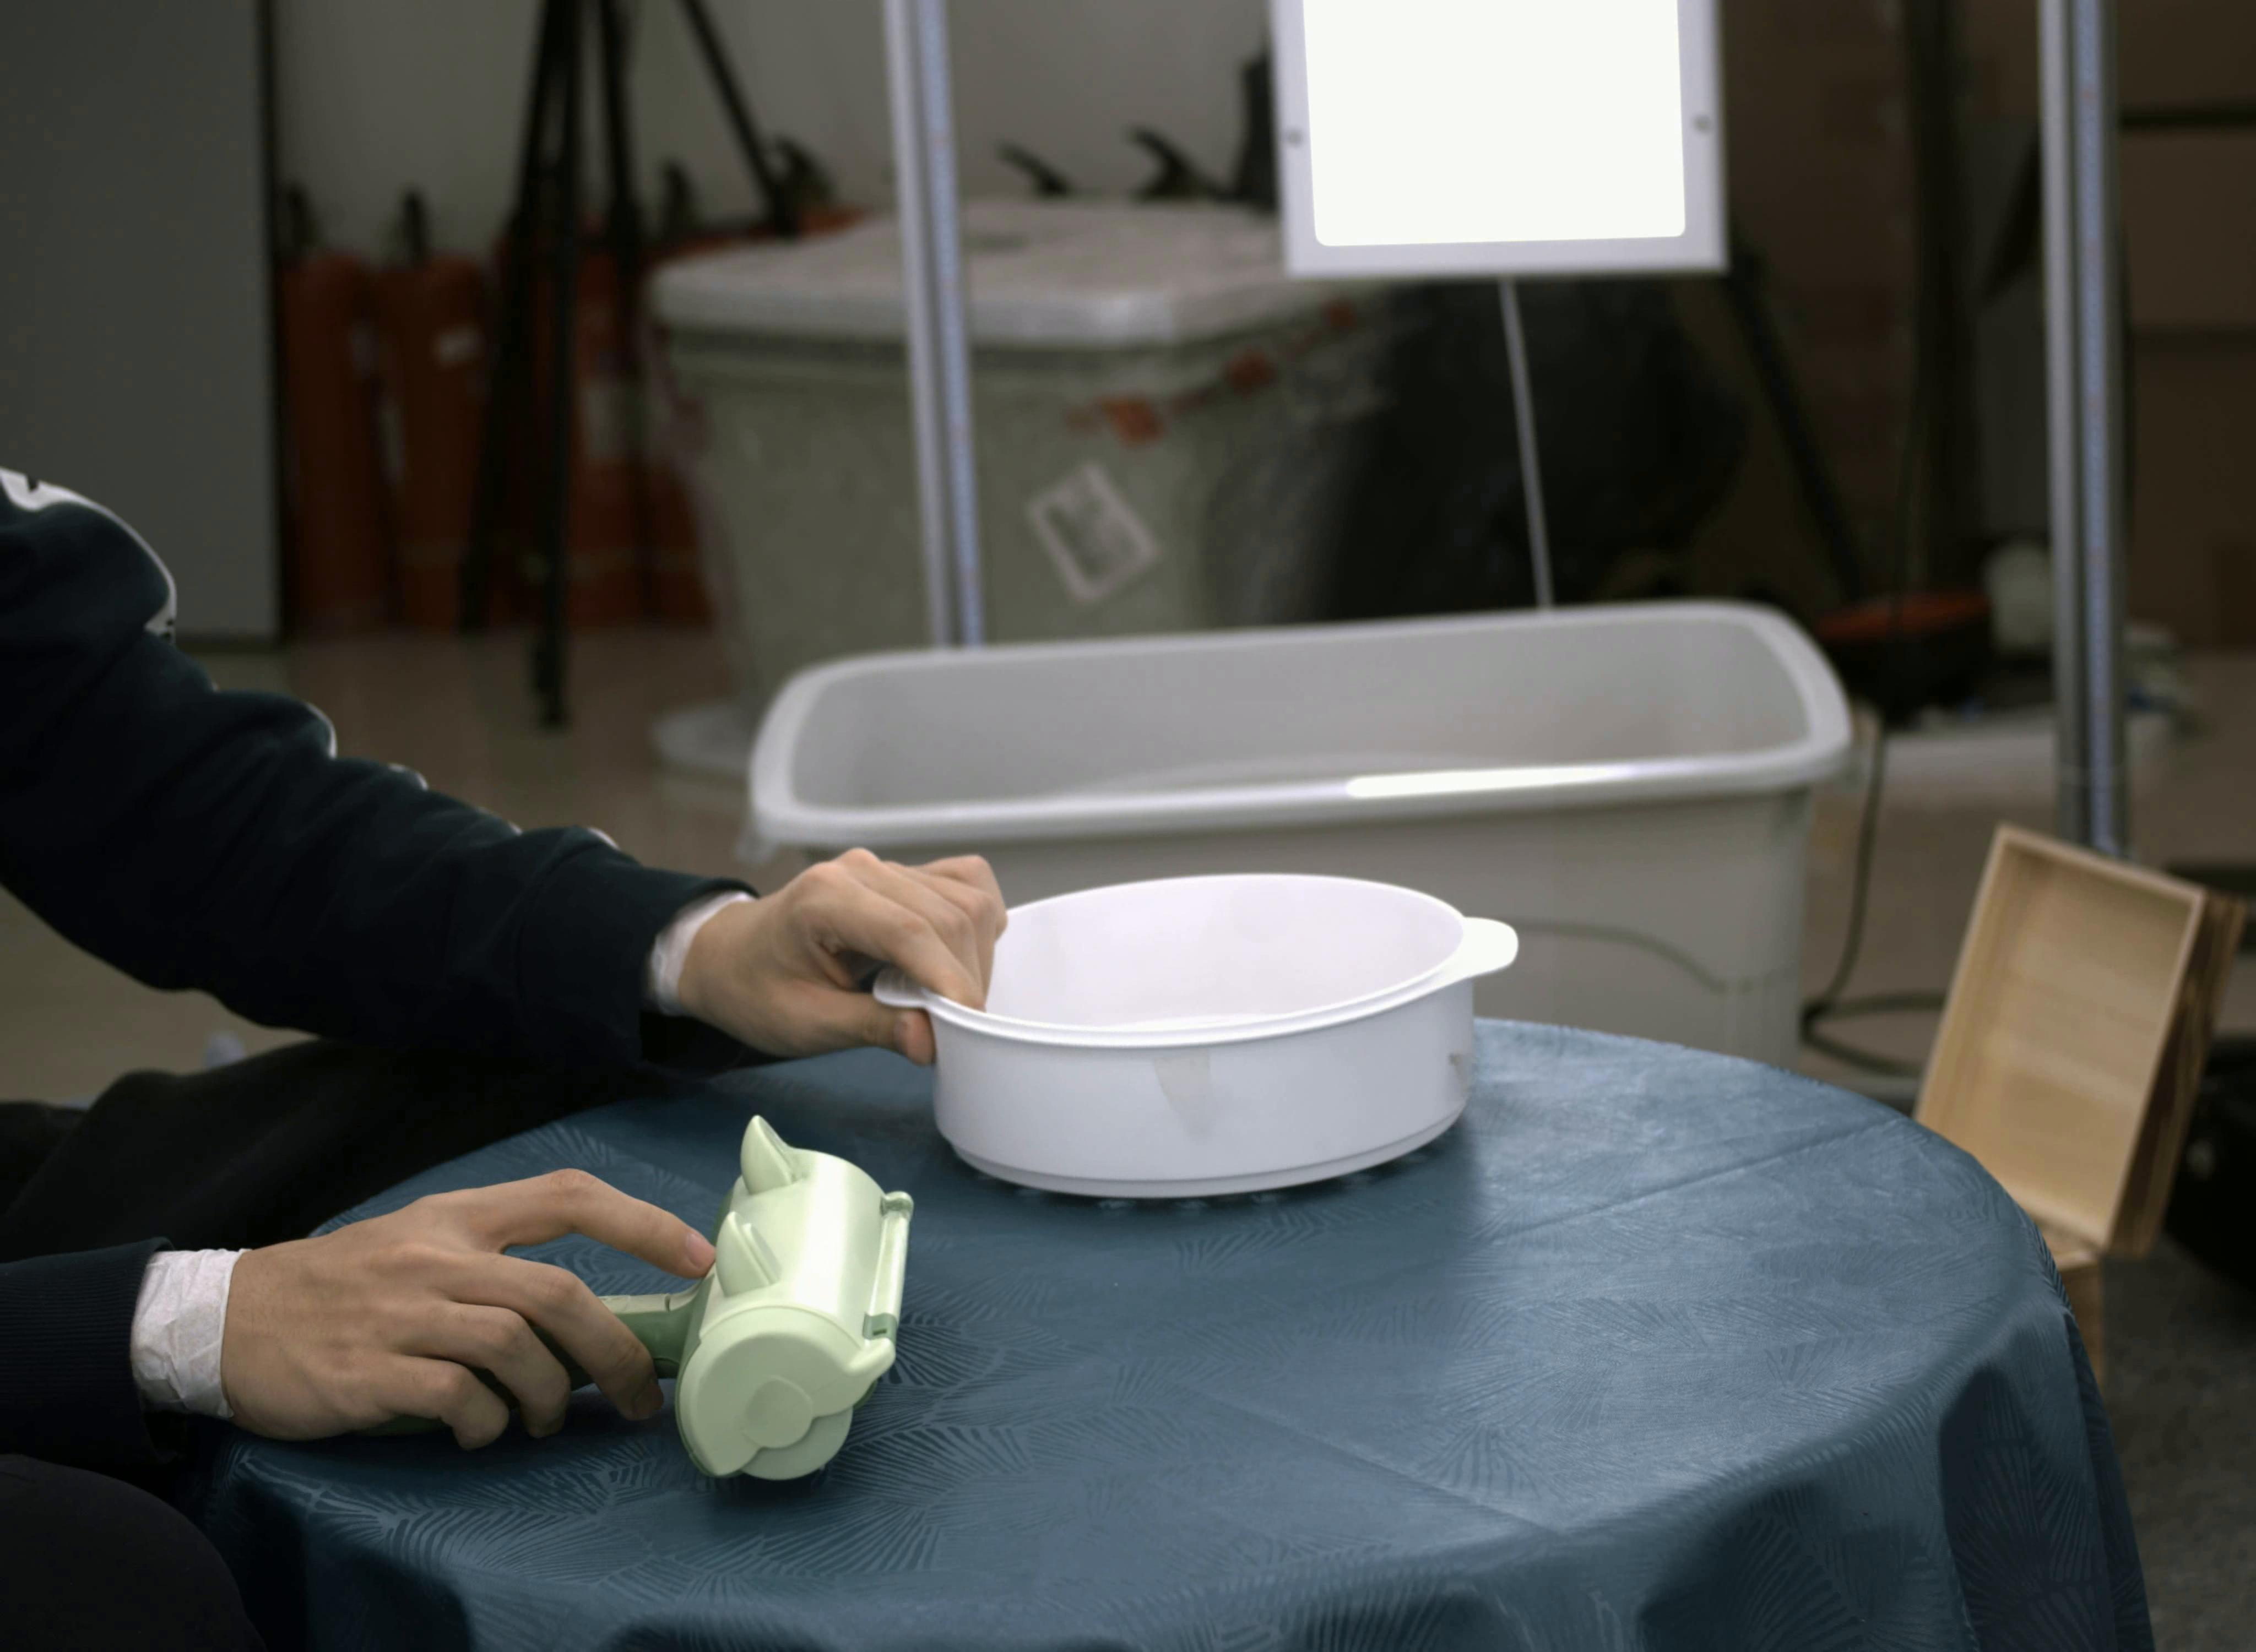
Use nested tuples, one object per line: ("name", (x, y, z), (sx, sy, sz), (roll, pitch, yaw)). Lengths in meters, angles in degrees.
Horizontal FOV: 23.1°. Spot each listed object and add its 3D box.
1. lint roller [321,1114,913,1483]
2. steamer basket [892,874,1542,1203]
("lint roller", (-0.161, 0.145, 1.711), (0.183, 0.082, 0.198), (-2, 12, 2))
("steamer basket", (0.032, 0.074, 1.948), (0.231, 0.069, 0.200), (-2, 15, 6))
